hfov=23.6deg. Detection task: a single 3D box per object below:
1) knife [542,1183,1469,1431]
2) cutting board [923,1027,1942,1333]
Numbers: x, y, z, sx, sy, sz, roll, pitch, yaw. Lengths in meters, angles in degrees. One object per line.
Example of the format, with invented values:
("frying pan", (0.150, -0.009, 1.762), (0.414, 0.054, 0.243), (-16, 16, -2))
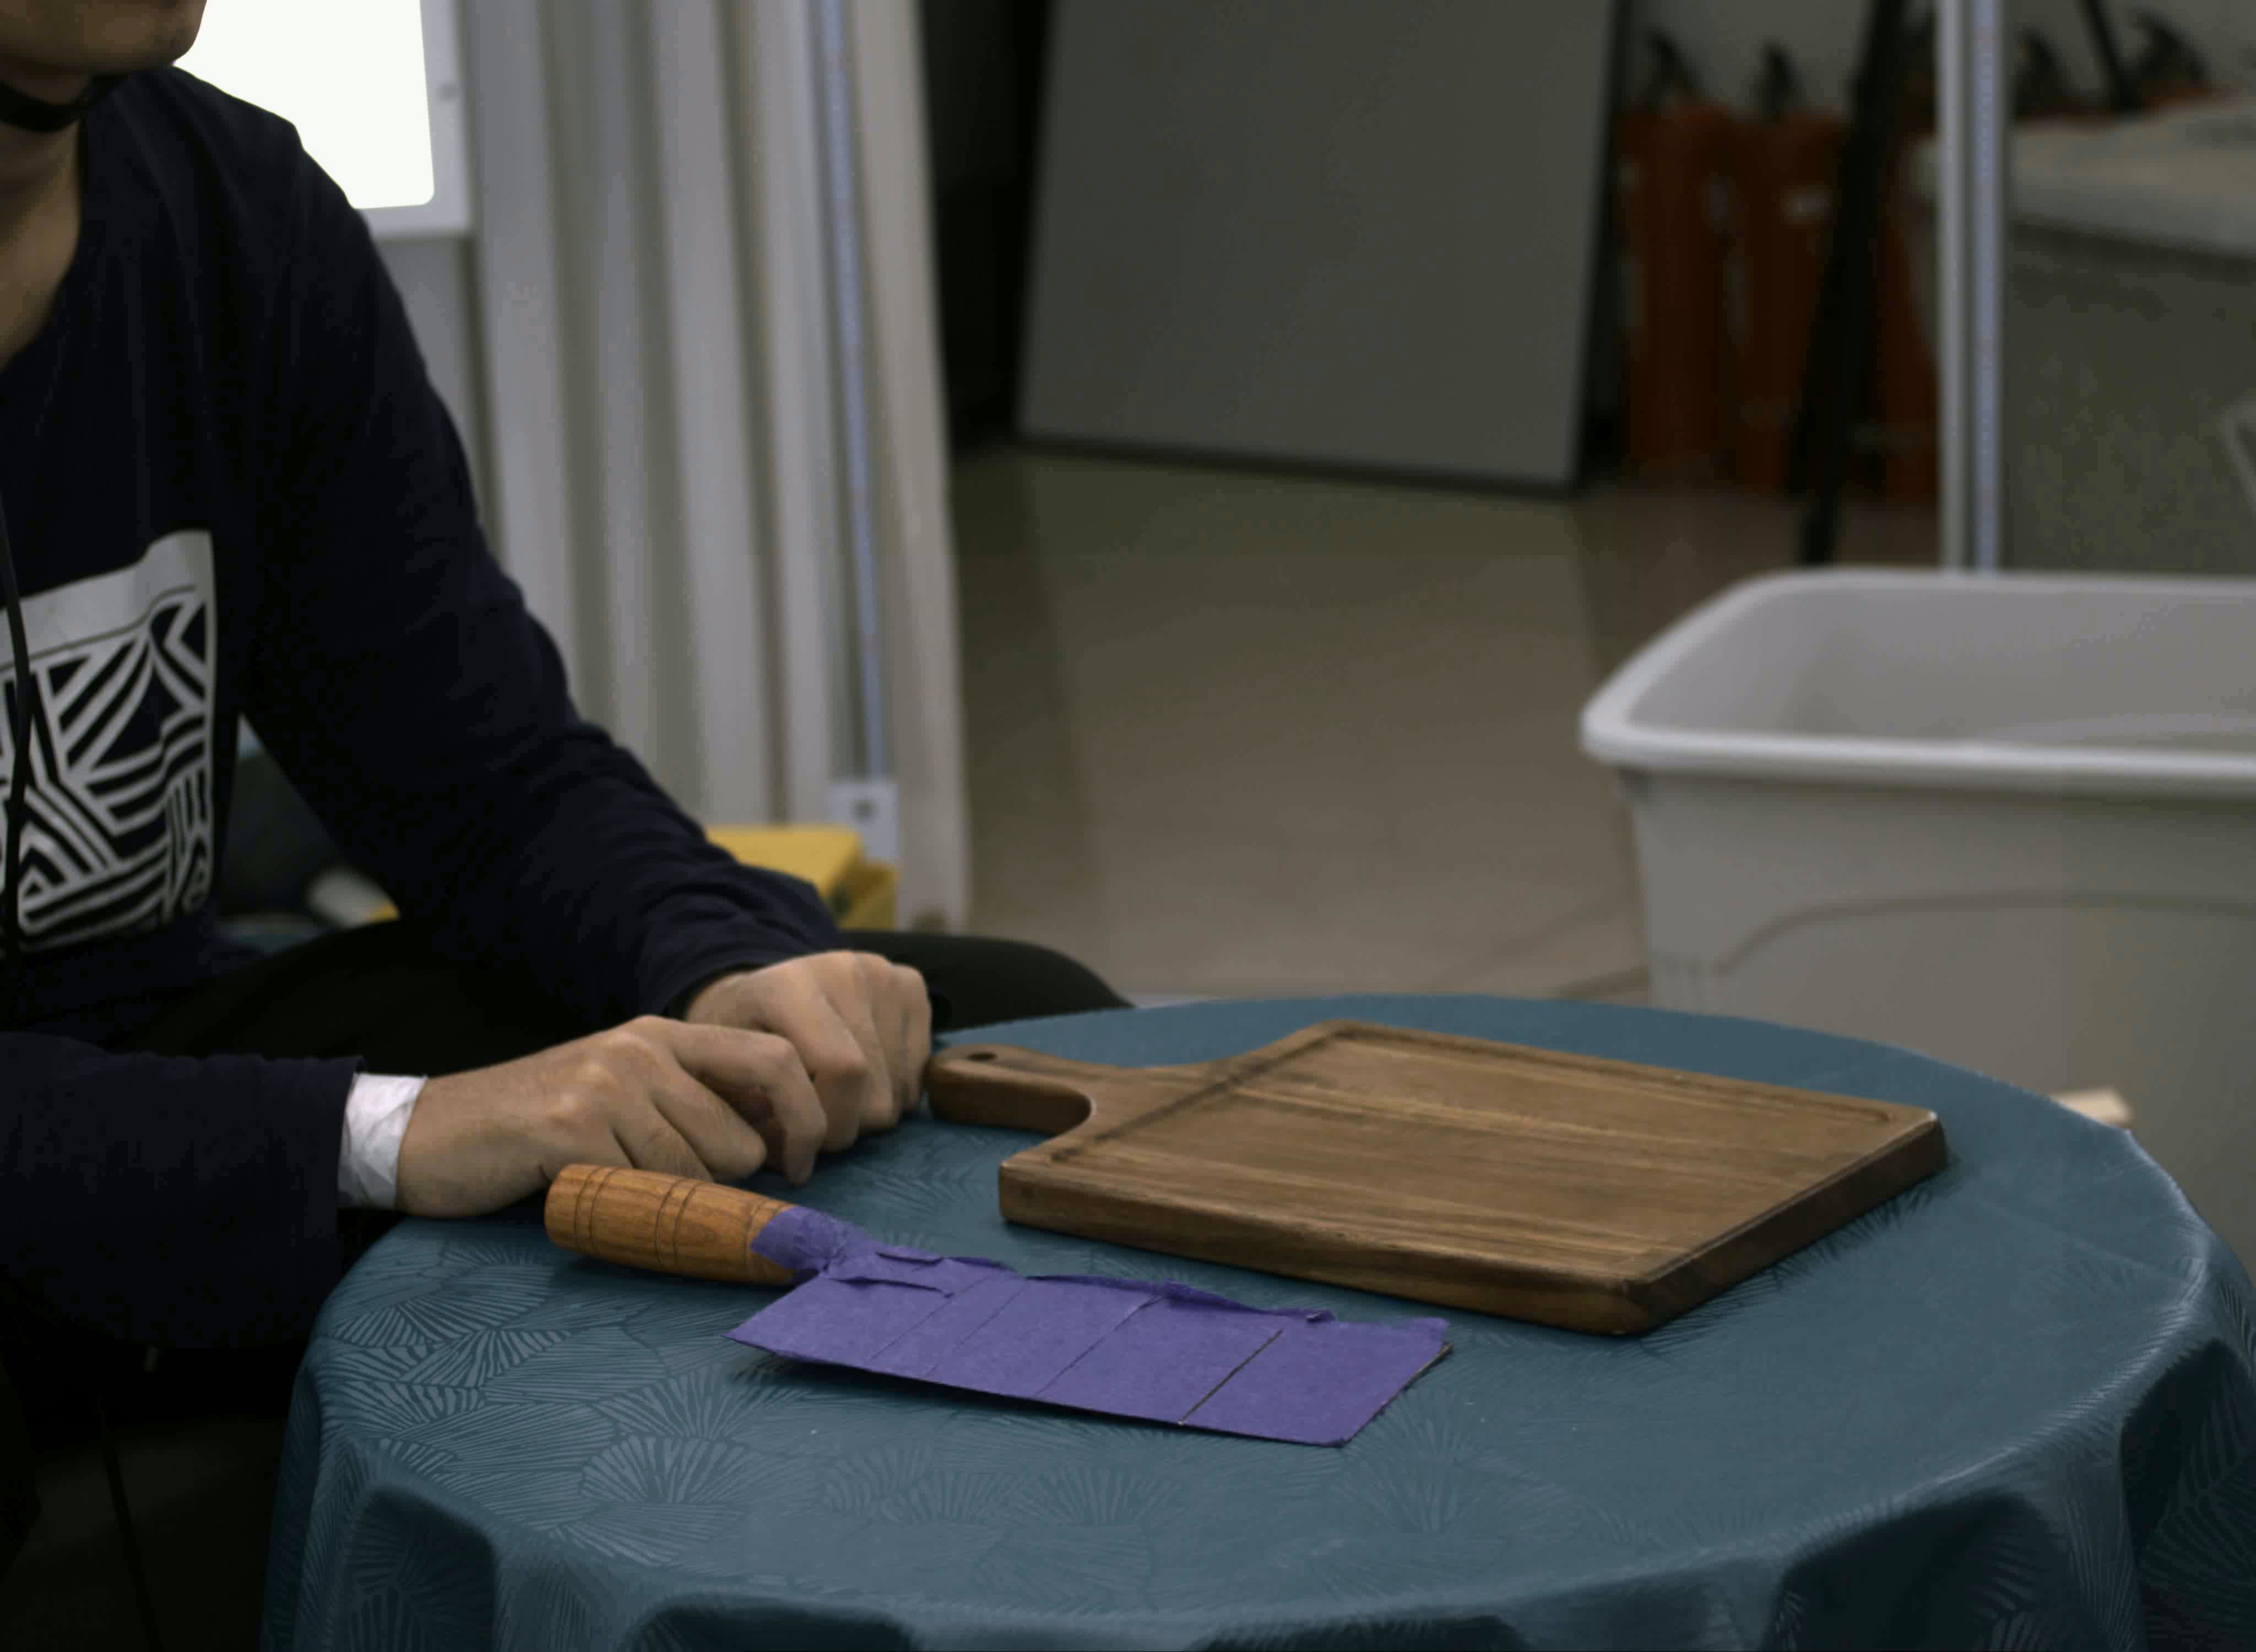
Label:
("knife", (-0.056, 0.145, 1.636), (0.316, 0.032, 0.102), (4, 15, 28))
("cutting board", (0.073, 0.106, 1.774), (0.355, 0.023, 0.197), (6, 17, 39))
